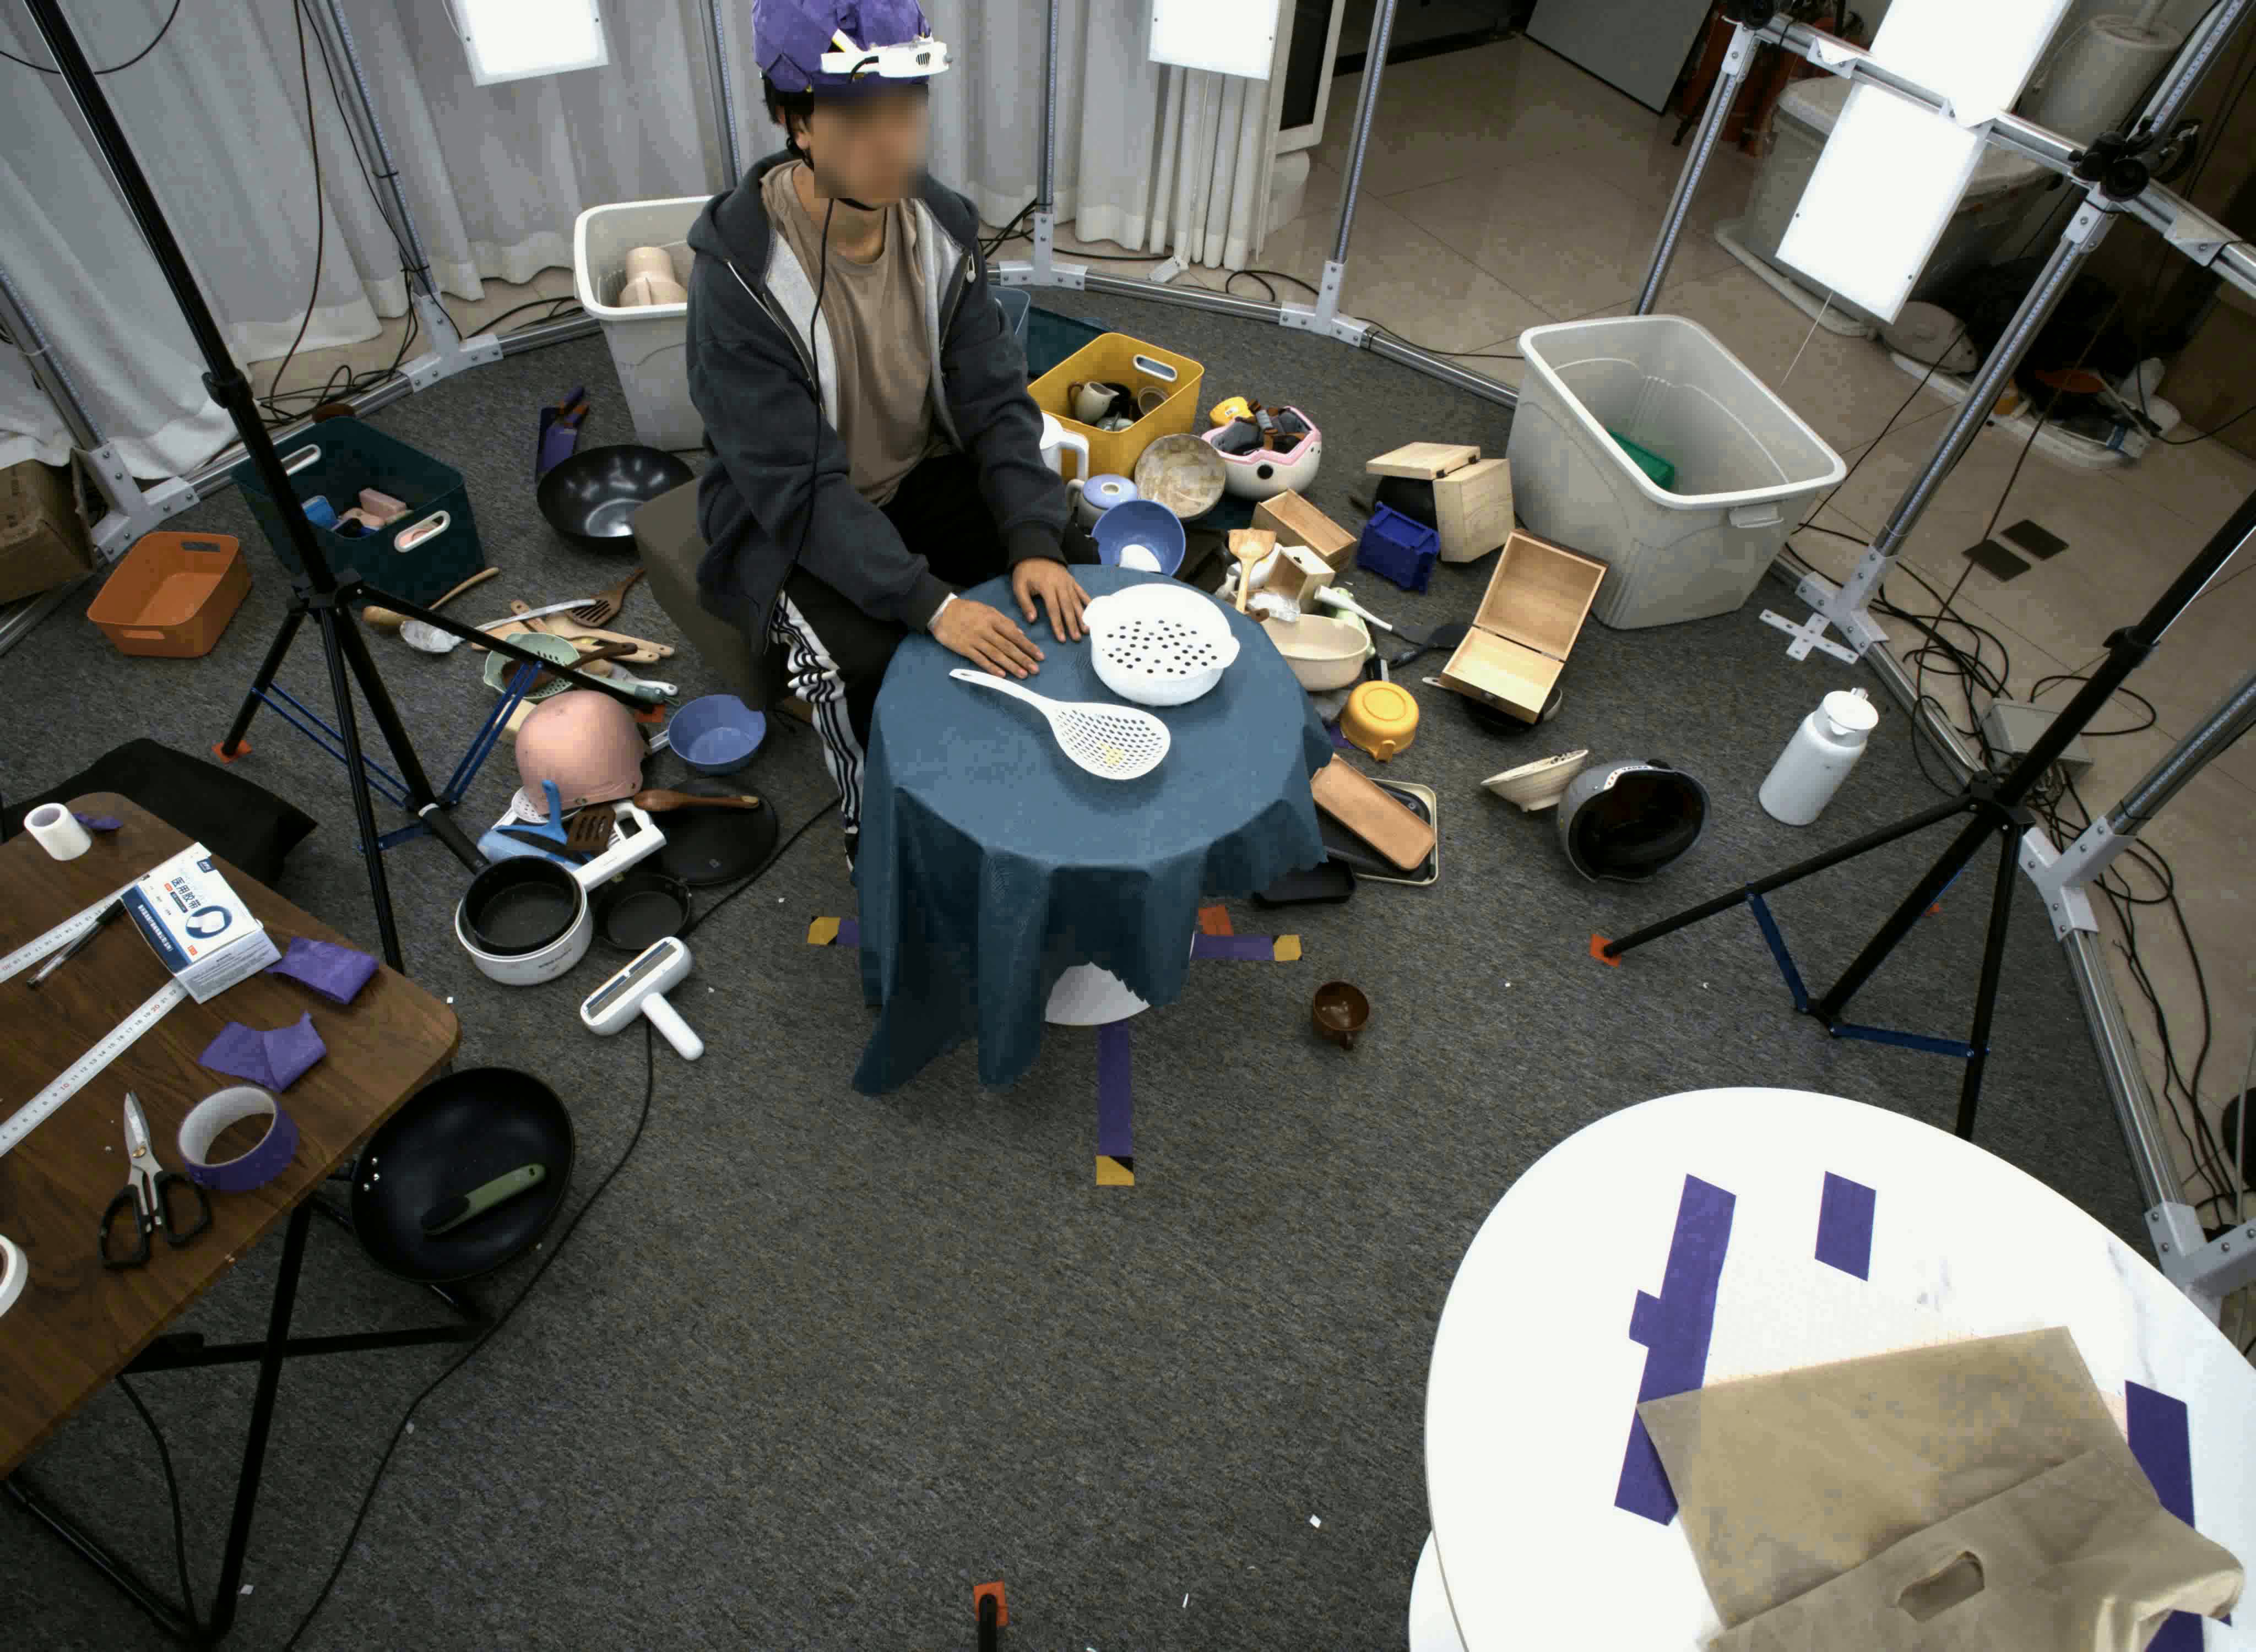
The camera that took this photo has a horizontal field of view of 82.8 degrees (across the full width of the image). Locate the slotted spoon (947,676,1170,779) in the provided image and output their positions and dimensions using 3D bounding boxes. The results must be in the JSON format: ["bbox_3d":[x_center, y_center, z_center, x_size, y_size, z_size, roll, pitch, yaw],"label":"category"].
[{"bbox_3d":[-0.104,-0.153,1.766,0.351,0.049,0.139,28,56,19],"label":"slotted spoon"}]

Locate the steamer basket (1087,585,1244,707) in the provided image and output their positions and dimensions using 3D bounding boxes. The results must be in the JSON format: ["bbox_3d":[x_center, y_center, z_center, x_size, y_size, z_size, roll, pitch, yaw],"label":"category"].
[{"bbox_3d":[0.050,-0.259,1.851,0.231,0.067,0.206,21,51,11],"label":"steamer basket"}]
